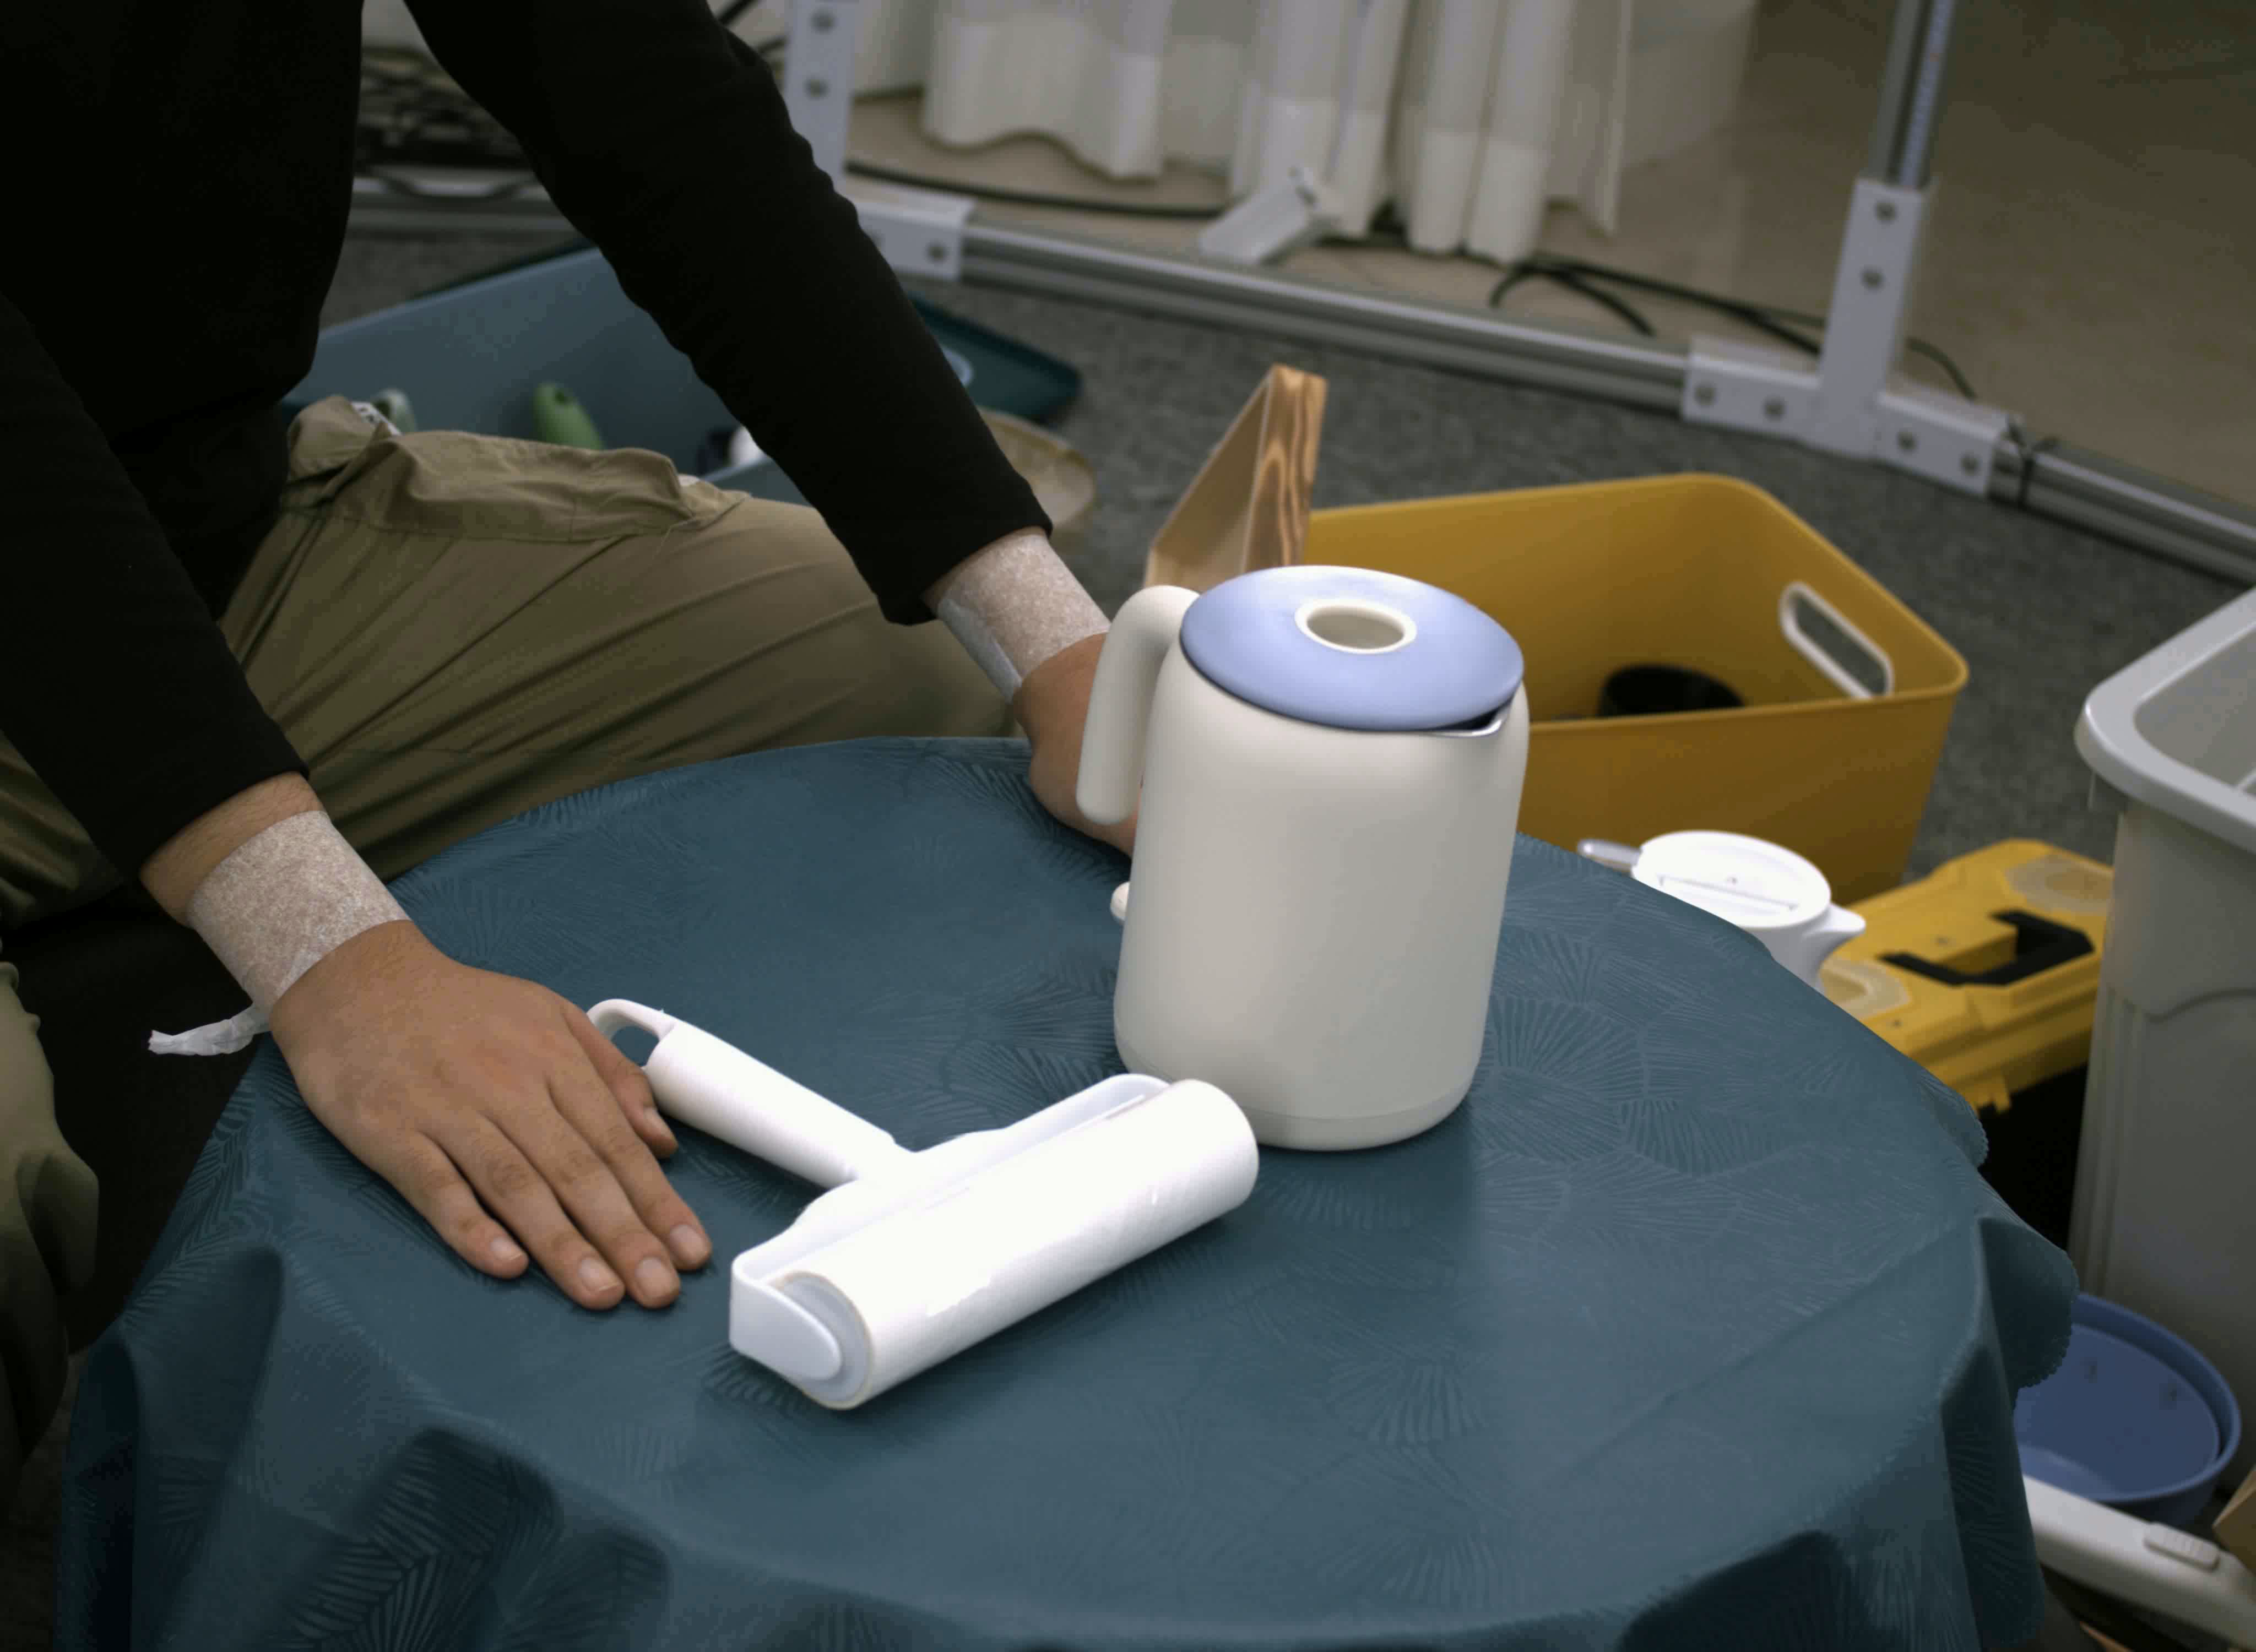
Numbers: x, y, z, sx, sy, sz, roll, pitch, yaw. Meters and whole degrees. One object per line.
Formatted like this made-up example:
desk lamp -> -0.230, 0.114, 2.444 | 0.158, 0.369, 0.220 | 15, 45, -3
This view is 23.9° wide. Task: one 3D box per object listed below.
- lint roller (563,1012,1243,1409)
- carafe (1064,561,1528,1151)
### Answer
lint roller -> -0.105, 0.102, 1.774 | 0.227, 0.048, 0.202 | 24, 33, 34
carafe -> 0.050, 0.001, 1.866 | 0.131, 0.182, 0.192 | -18, 33, -41
